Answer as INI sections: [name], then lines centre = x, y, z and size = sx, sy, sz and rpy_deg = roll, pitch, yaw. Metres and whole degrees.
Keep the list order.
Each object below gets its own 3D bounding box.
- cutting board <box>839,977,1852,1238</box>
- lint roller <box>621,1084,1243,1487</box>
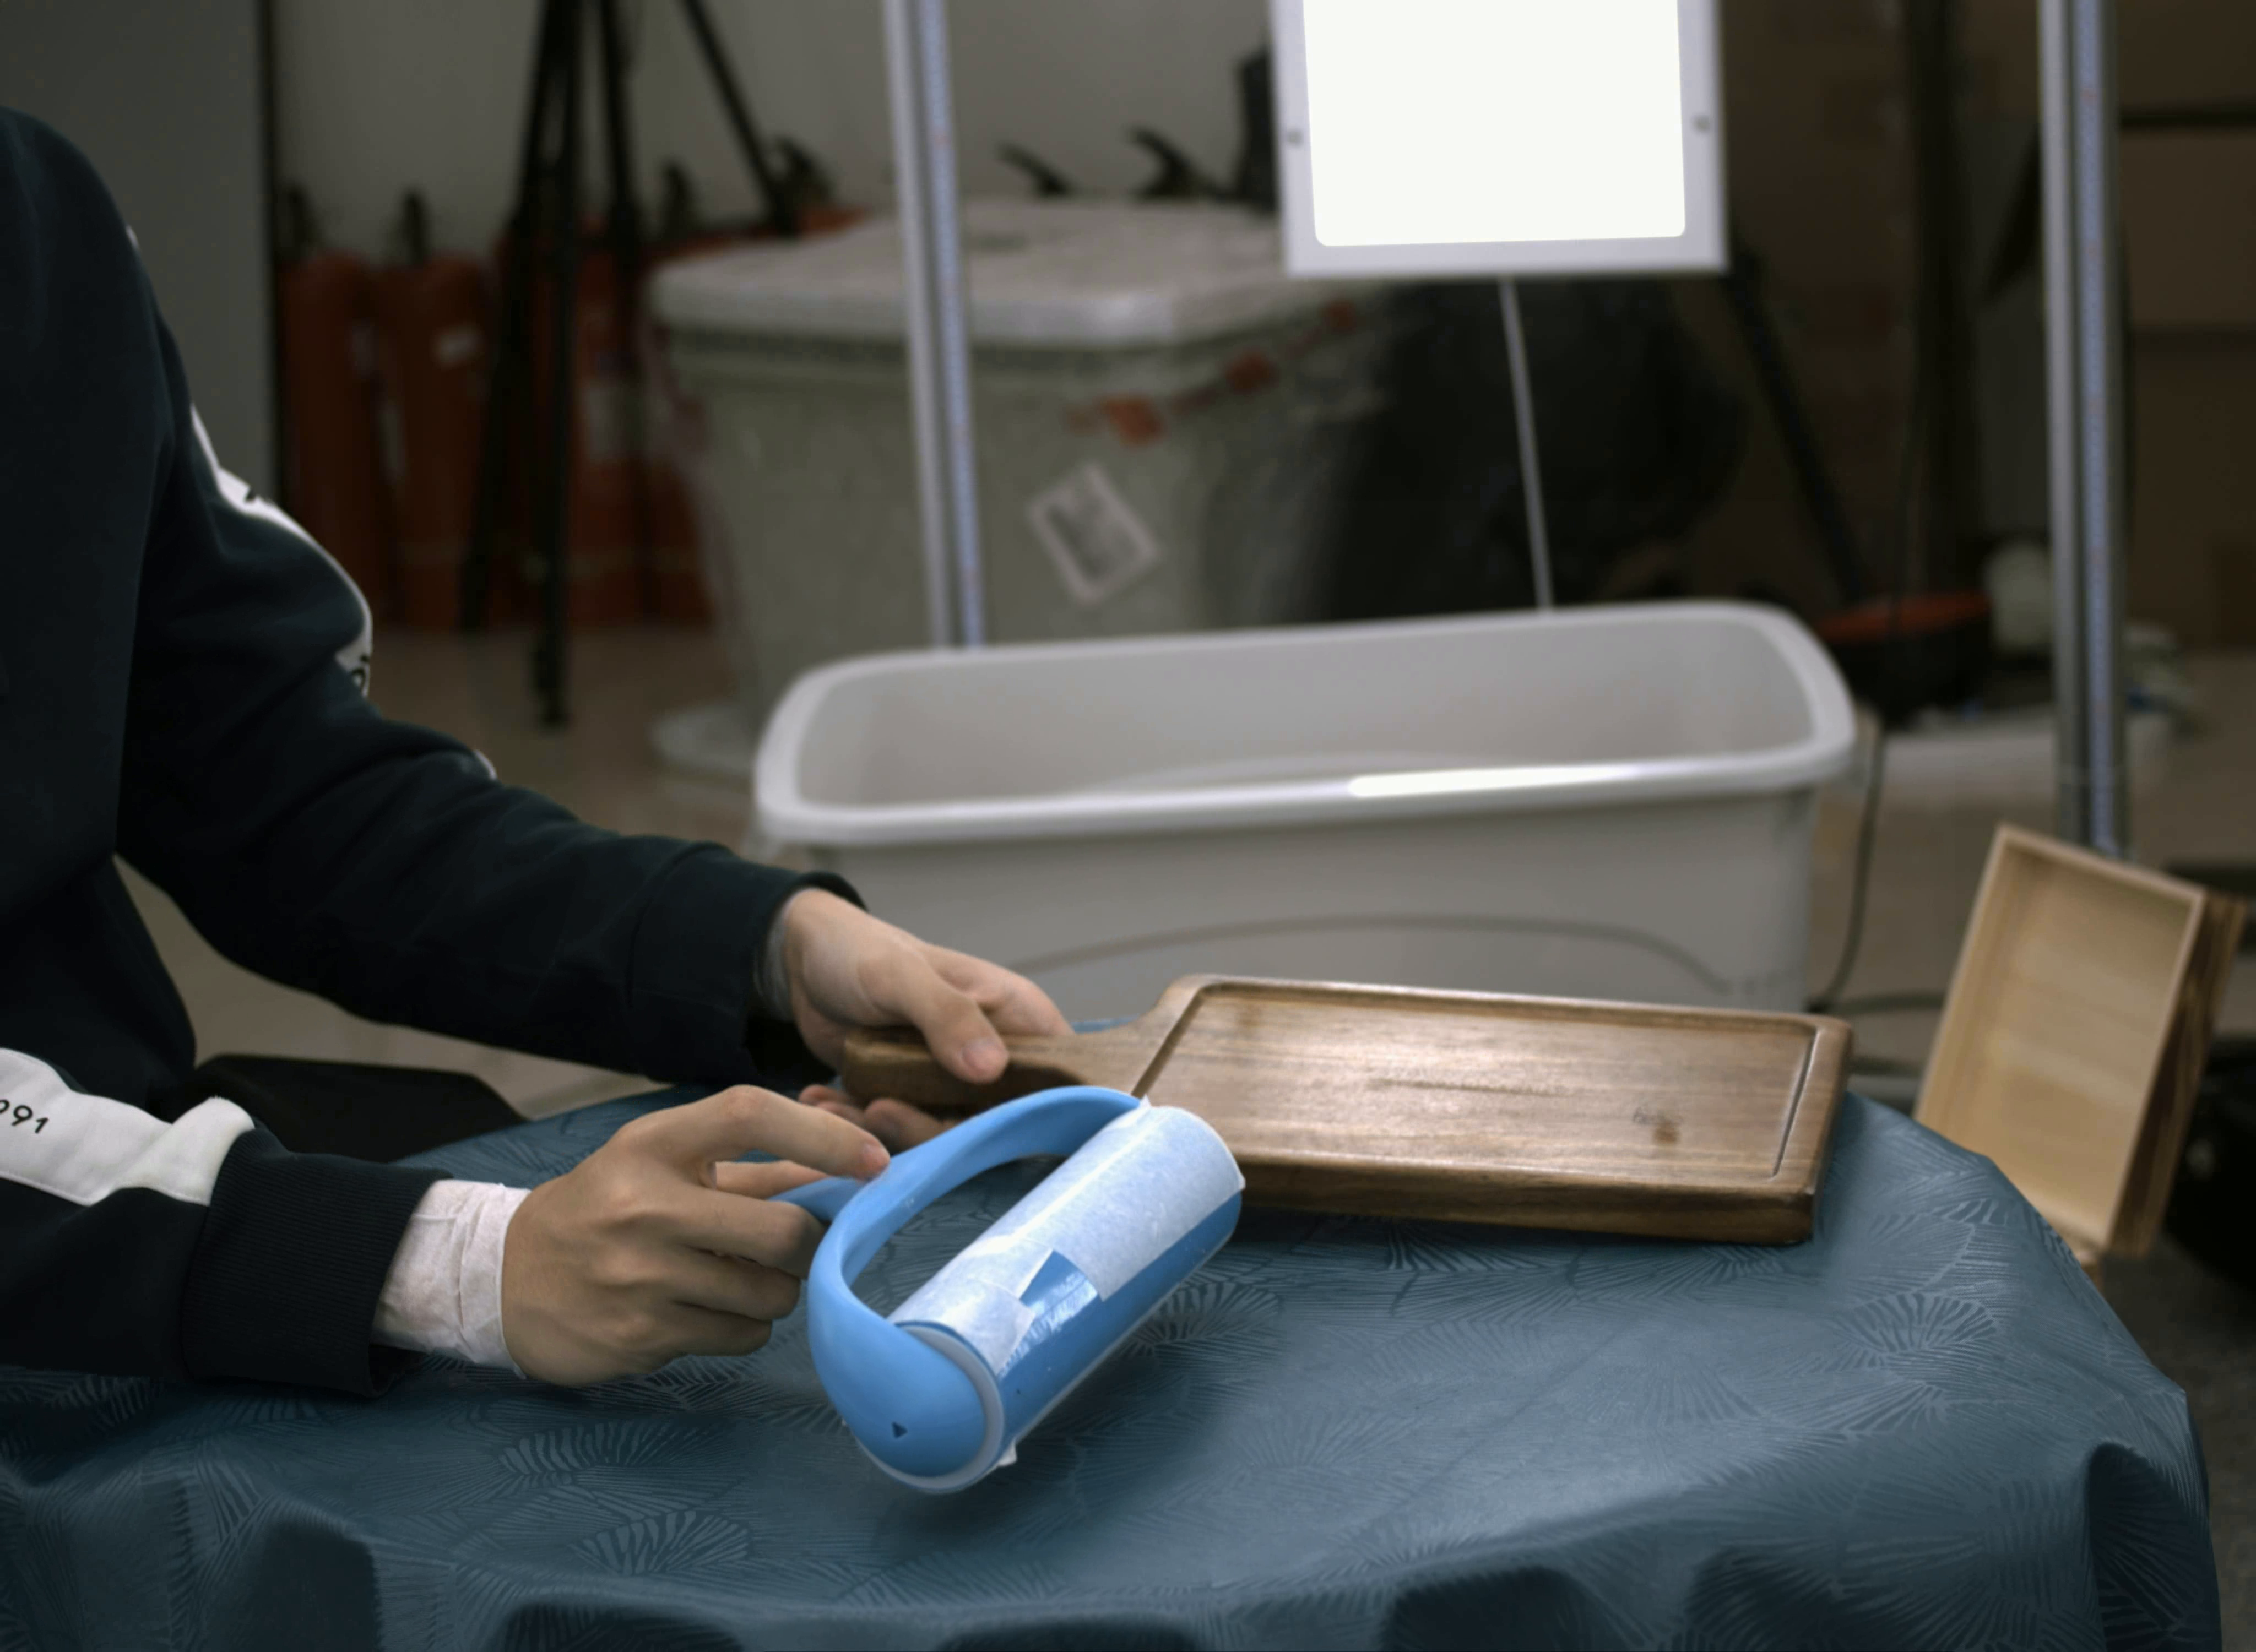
[cutting board]
centre = 0.072, 0.091, 1.904
size = 0.355, 0.023, 0.198
rpy_deg = 3, 15, 13
[lint roller]
centre = -0.078, 0.138, 1.697
size = 0.183, 0.068, 0.225
rpy_deg = 0, 18, 21
